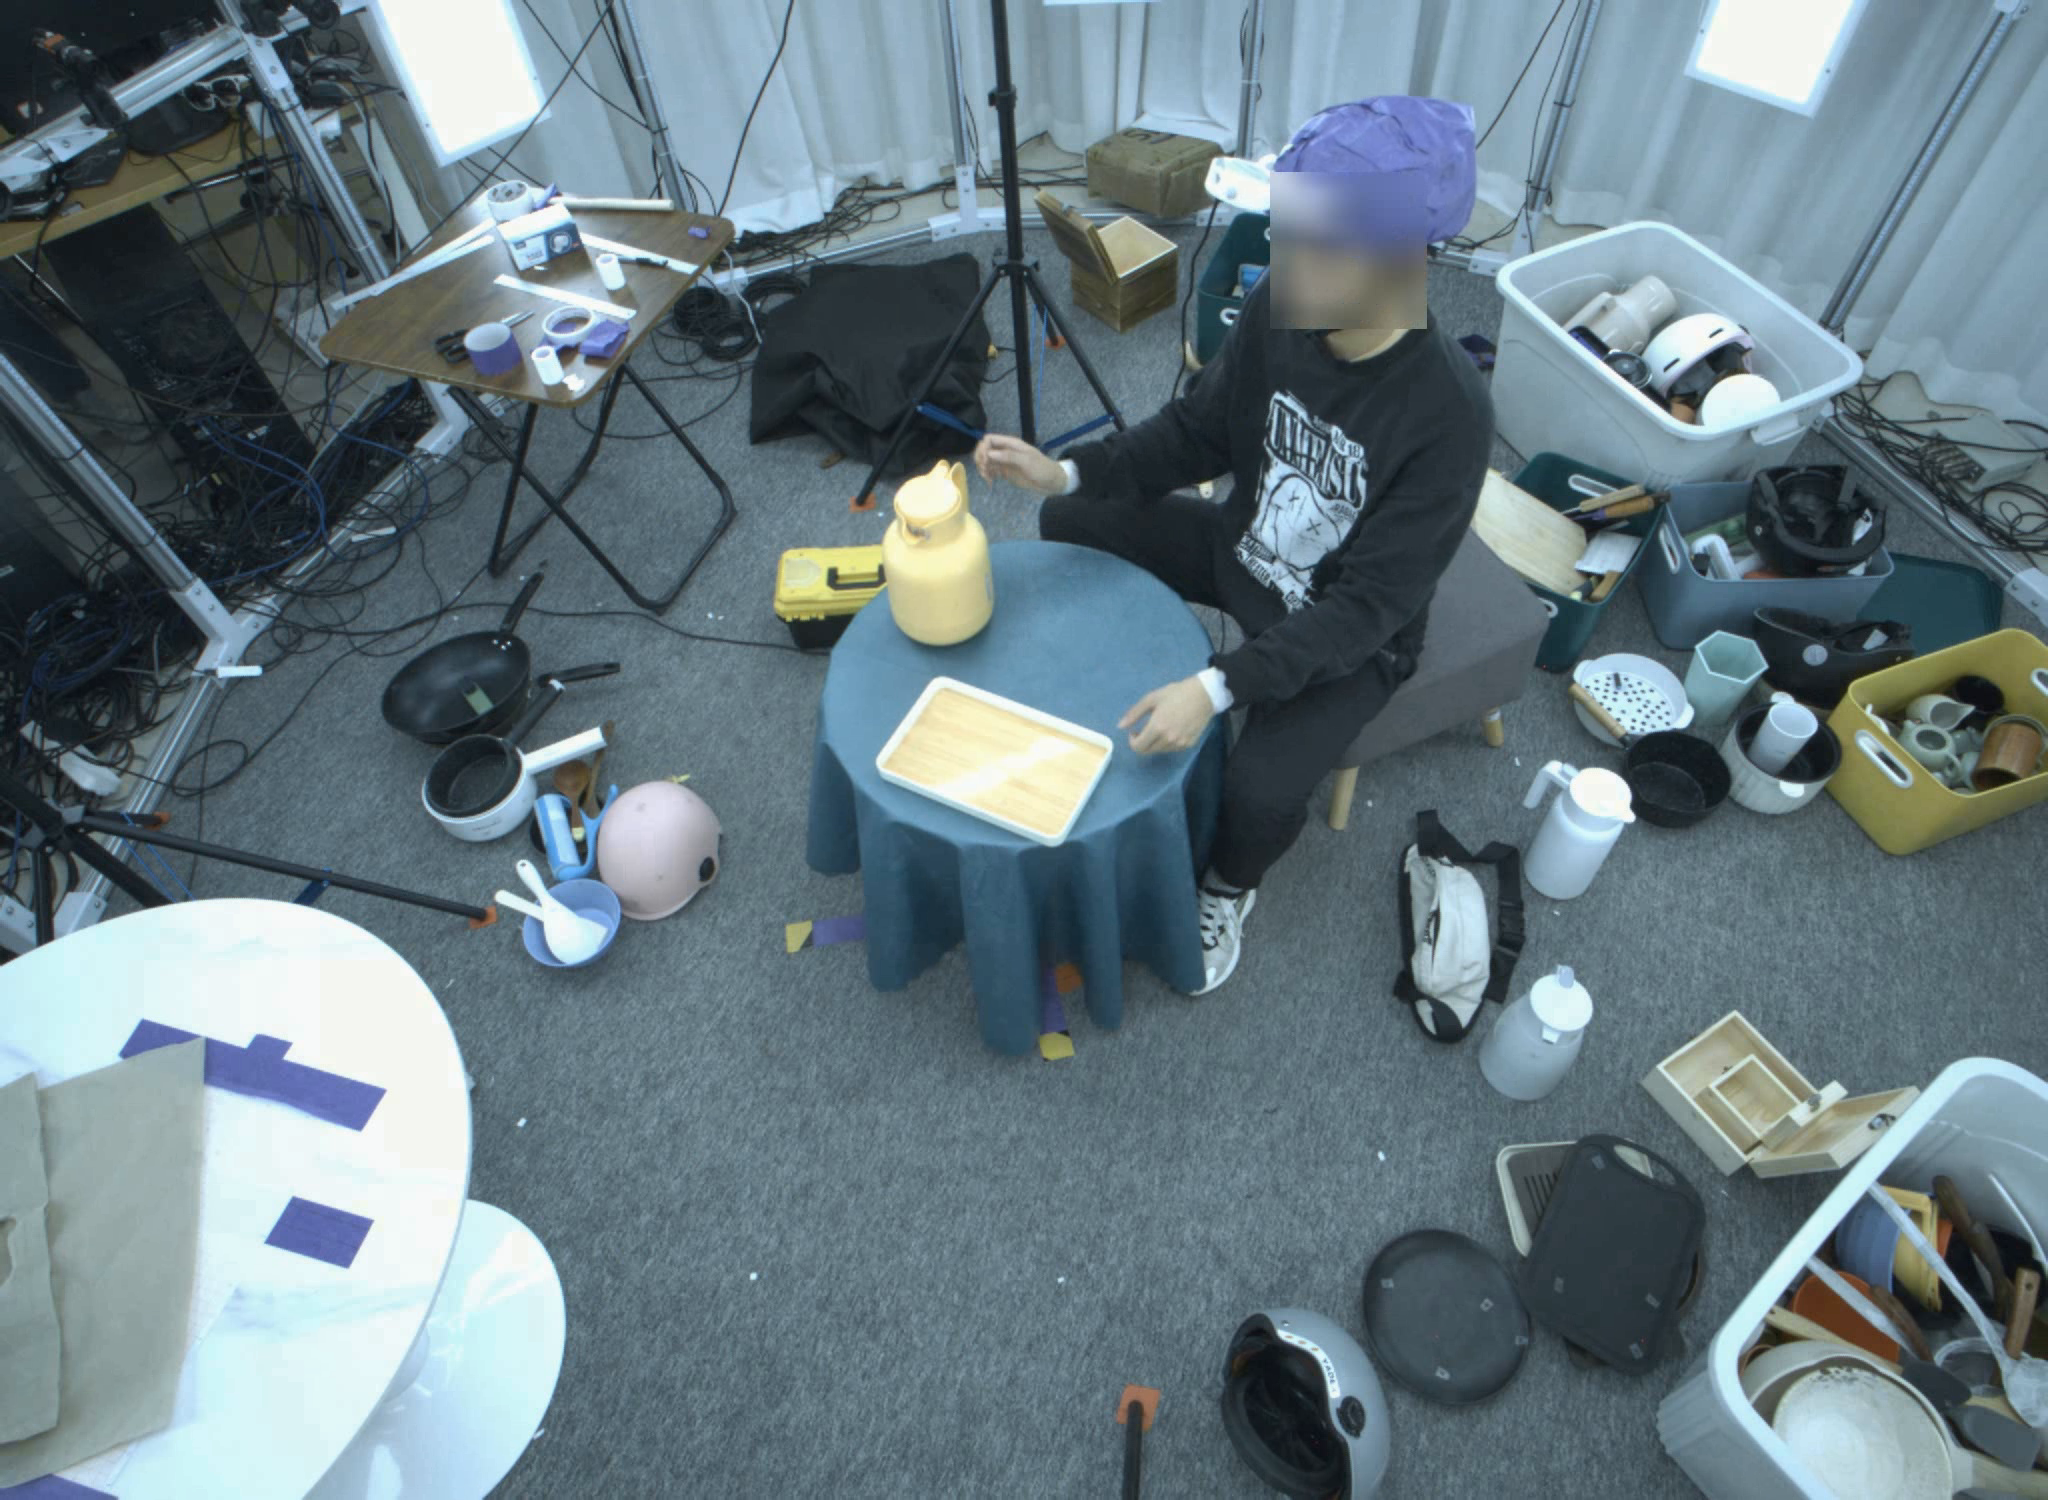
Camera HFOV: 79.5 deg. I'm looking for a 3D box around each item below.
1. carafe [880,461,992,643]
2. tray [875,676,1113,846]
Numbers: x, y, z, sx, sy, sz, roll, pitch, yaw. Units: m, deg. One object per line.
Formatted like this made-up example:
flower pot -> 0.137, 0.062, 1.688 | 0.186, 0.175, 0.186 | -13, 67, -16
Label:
carafe -> -0.127, -0.306, 1.844 | 0.162, 0.263, 0.202 | 15, 58, 11
tray -> -0.042, 0.011, 1.760 | 0.296, 0.028, 0.192 | 22, 58, 16
